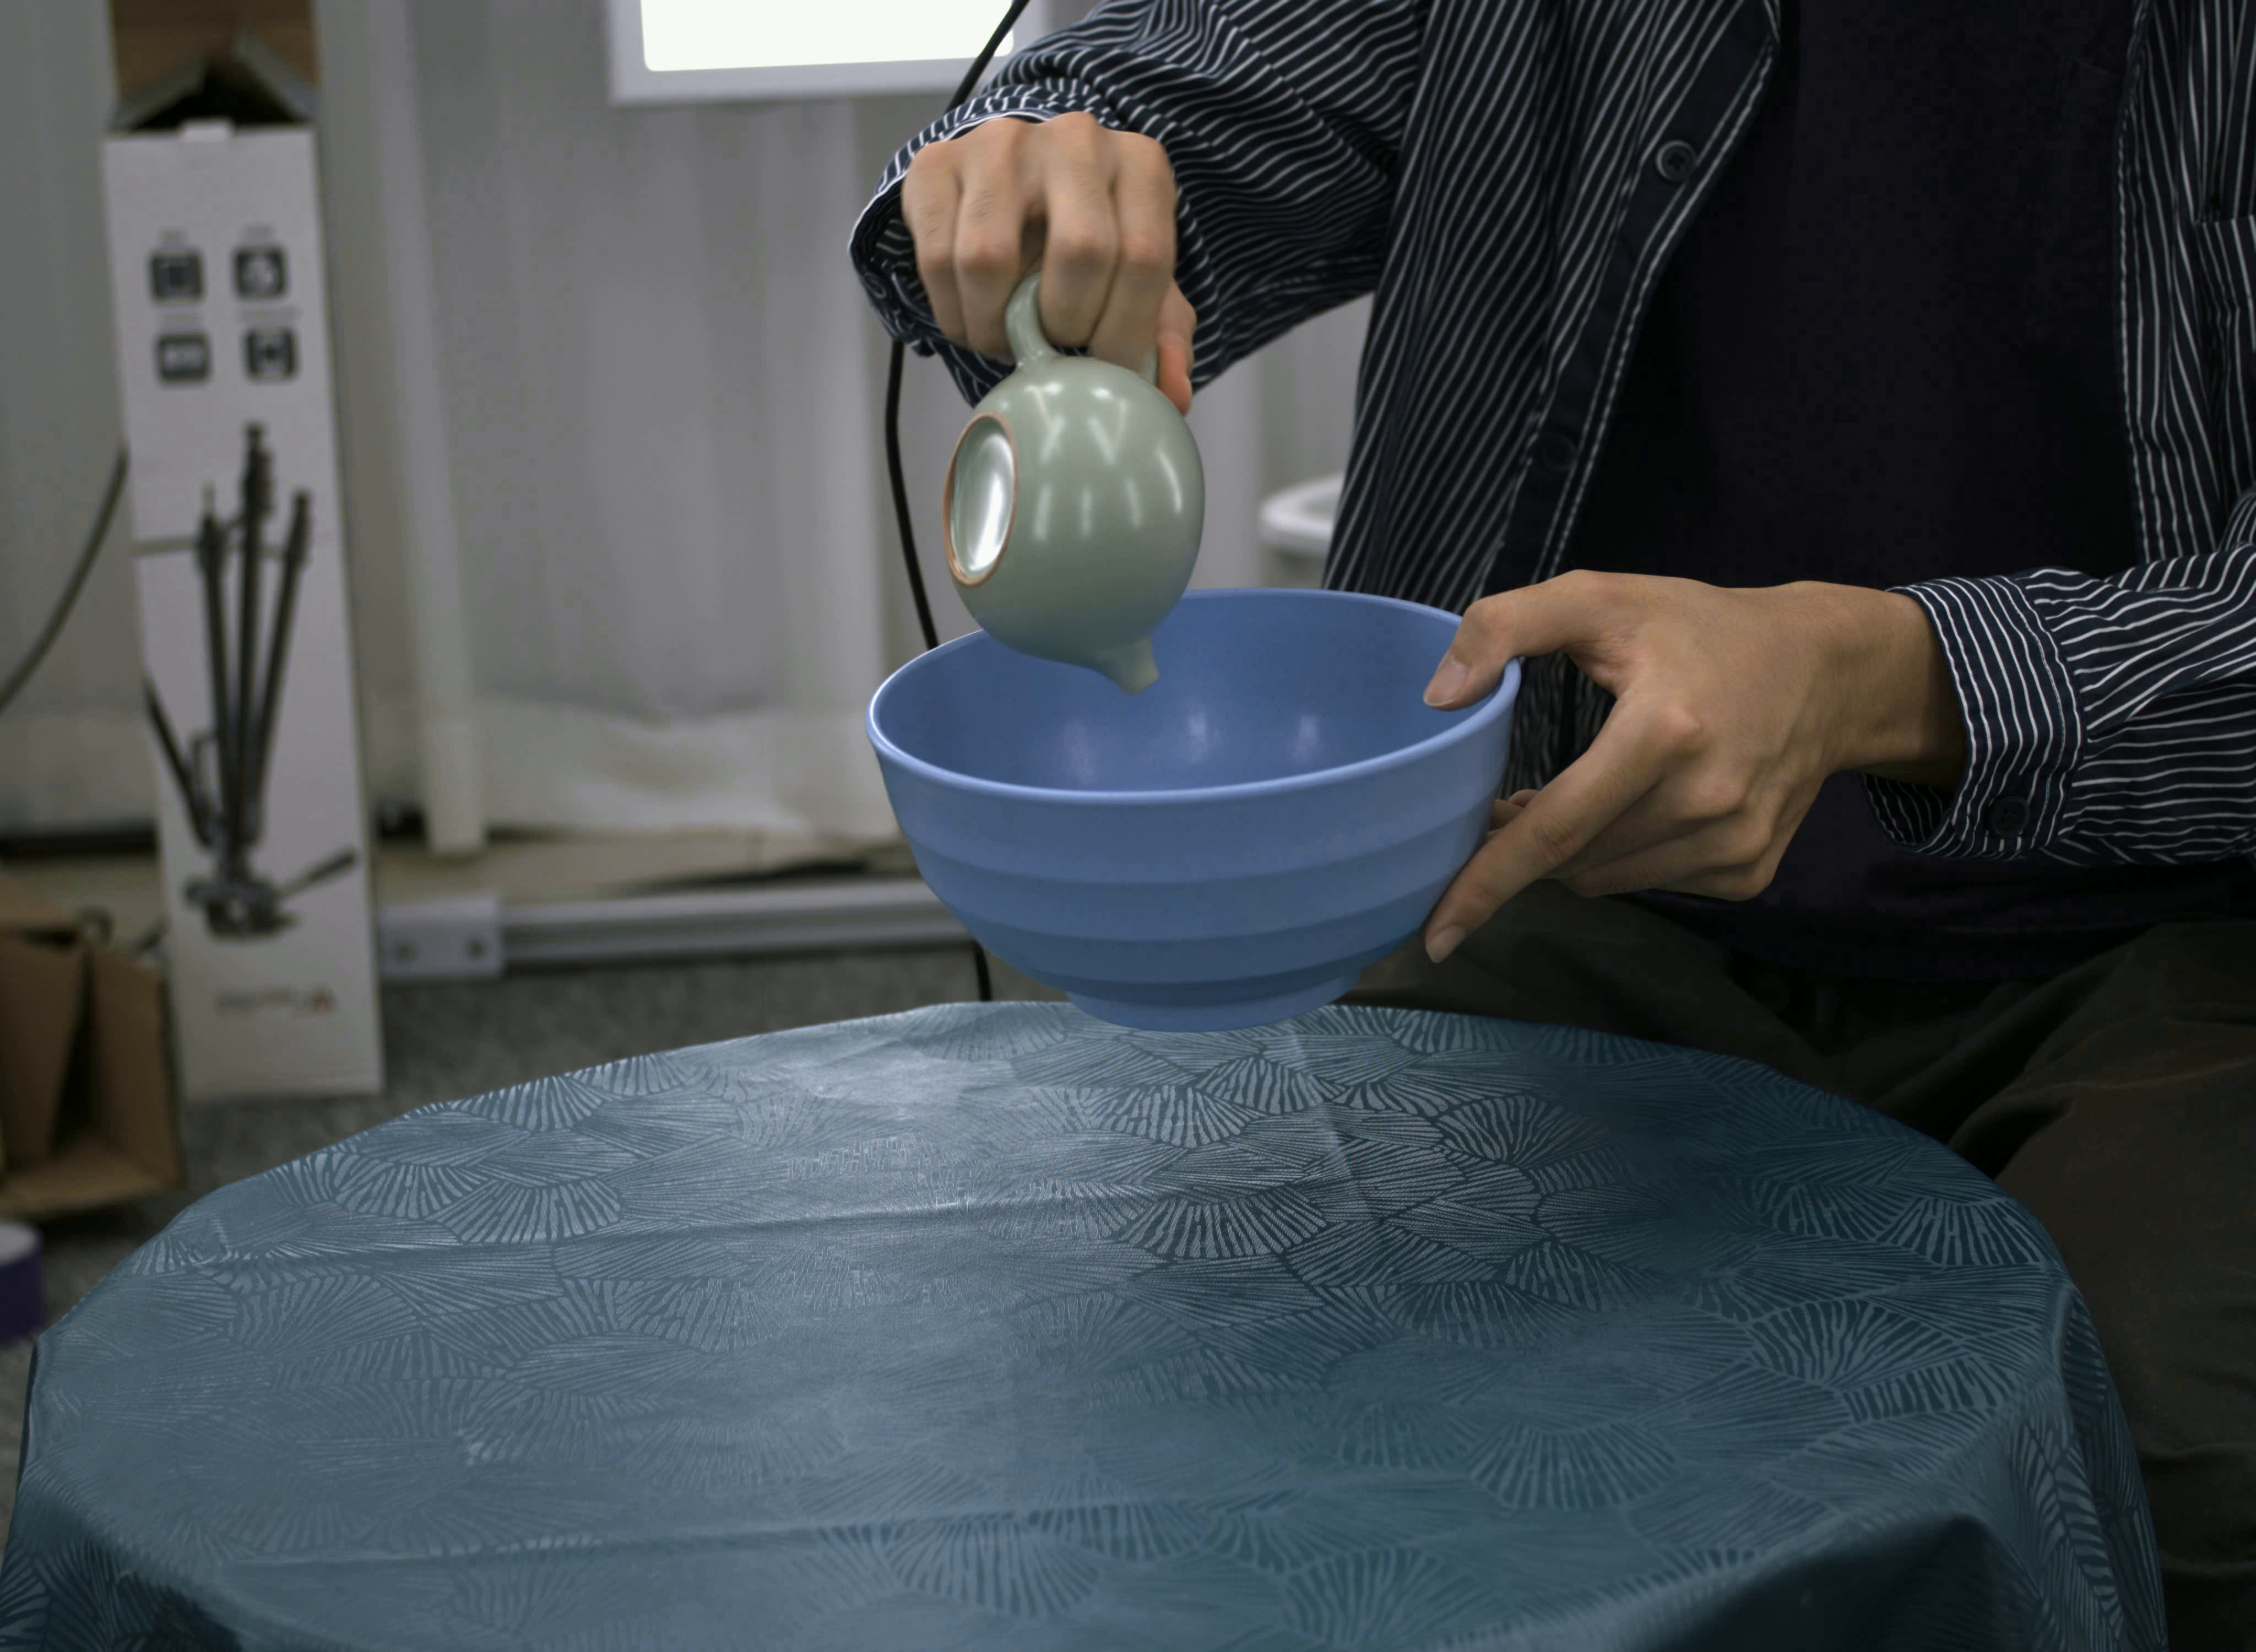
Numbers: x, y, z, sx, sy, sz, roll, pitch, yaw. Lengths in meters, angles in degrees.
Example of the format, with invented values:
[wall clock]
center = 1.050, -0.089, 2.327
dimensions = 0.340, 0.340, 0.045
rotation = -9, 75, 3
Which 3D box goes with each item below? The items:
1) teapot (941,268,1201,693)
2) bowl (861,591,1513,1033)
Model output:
[teapot]
center = -0.018, -0.104, 1.632
dimensions = 0.060, 0.130, 0.091
rotation = 5, -15, -24
[bowl]
center = 0.021, 0.002, 1.652
dimensions = 0.196, 0.095, 0.198
rotation = -5, 19, 1
